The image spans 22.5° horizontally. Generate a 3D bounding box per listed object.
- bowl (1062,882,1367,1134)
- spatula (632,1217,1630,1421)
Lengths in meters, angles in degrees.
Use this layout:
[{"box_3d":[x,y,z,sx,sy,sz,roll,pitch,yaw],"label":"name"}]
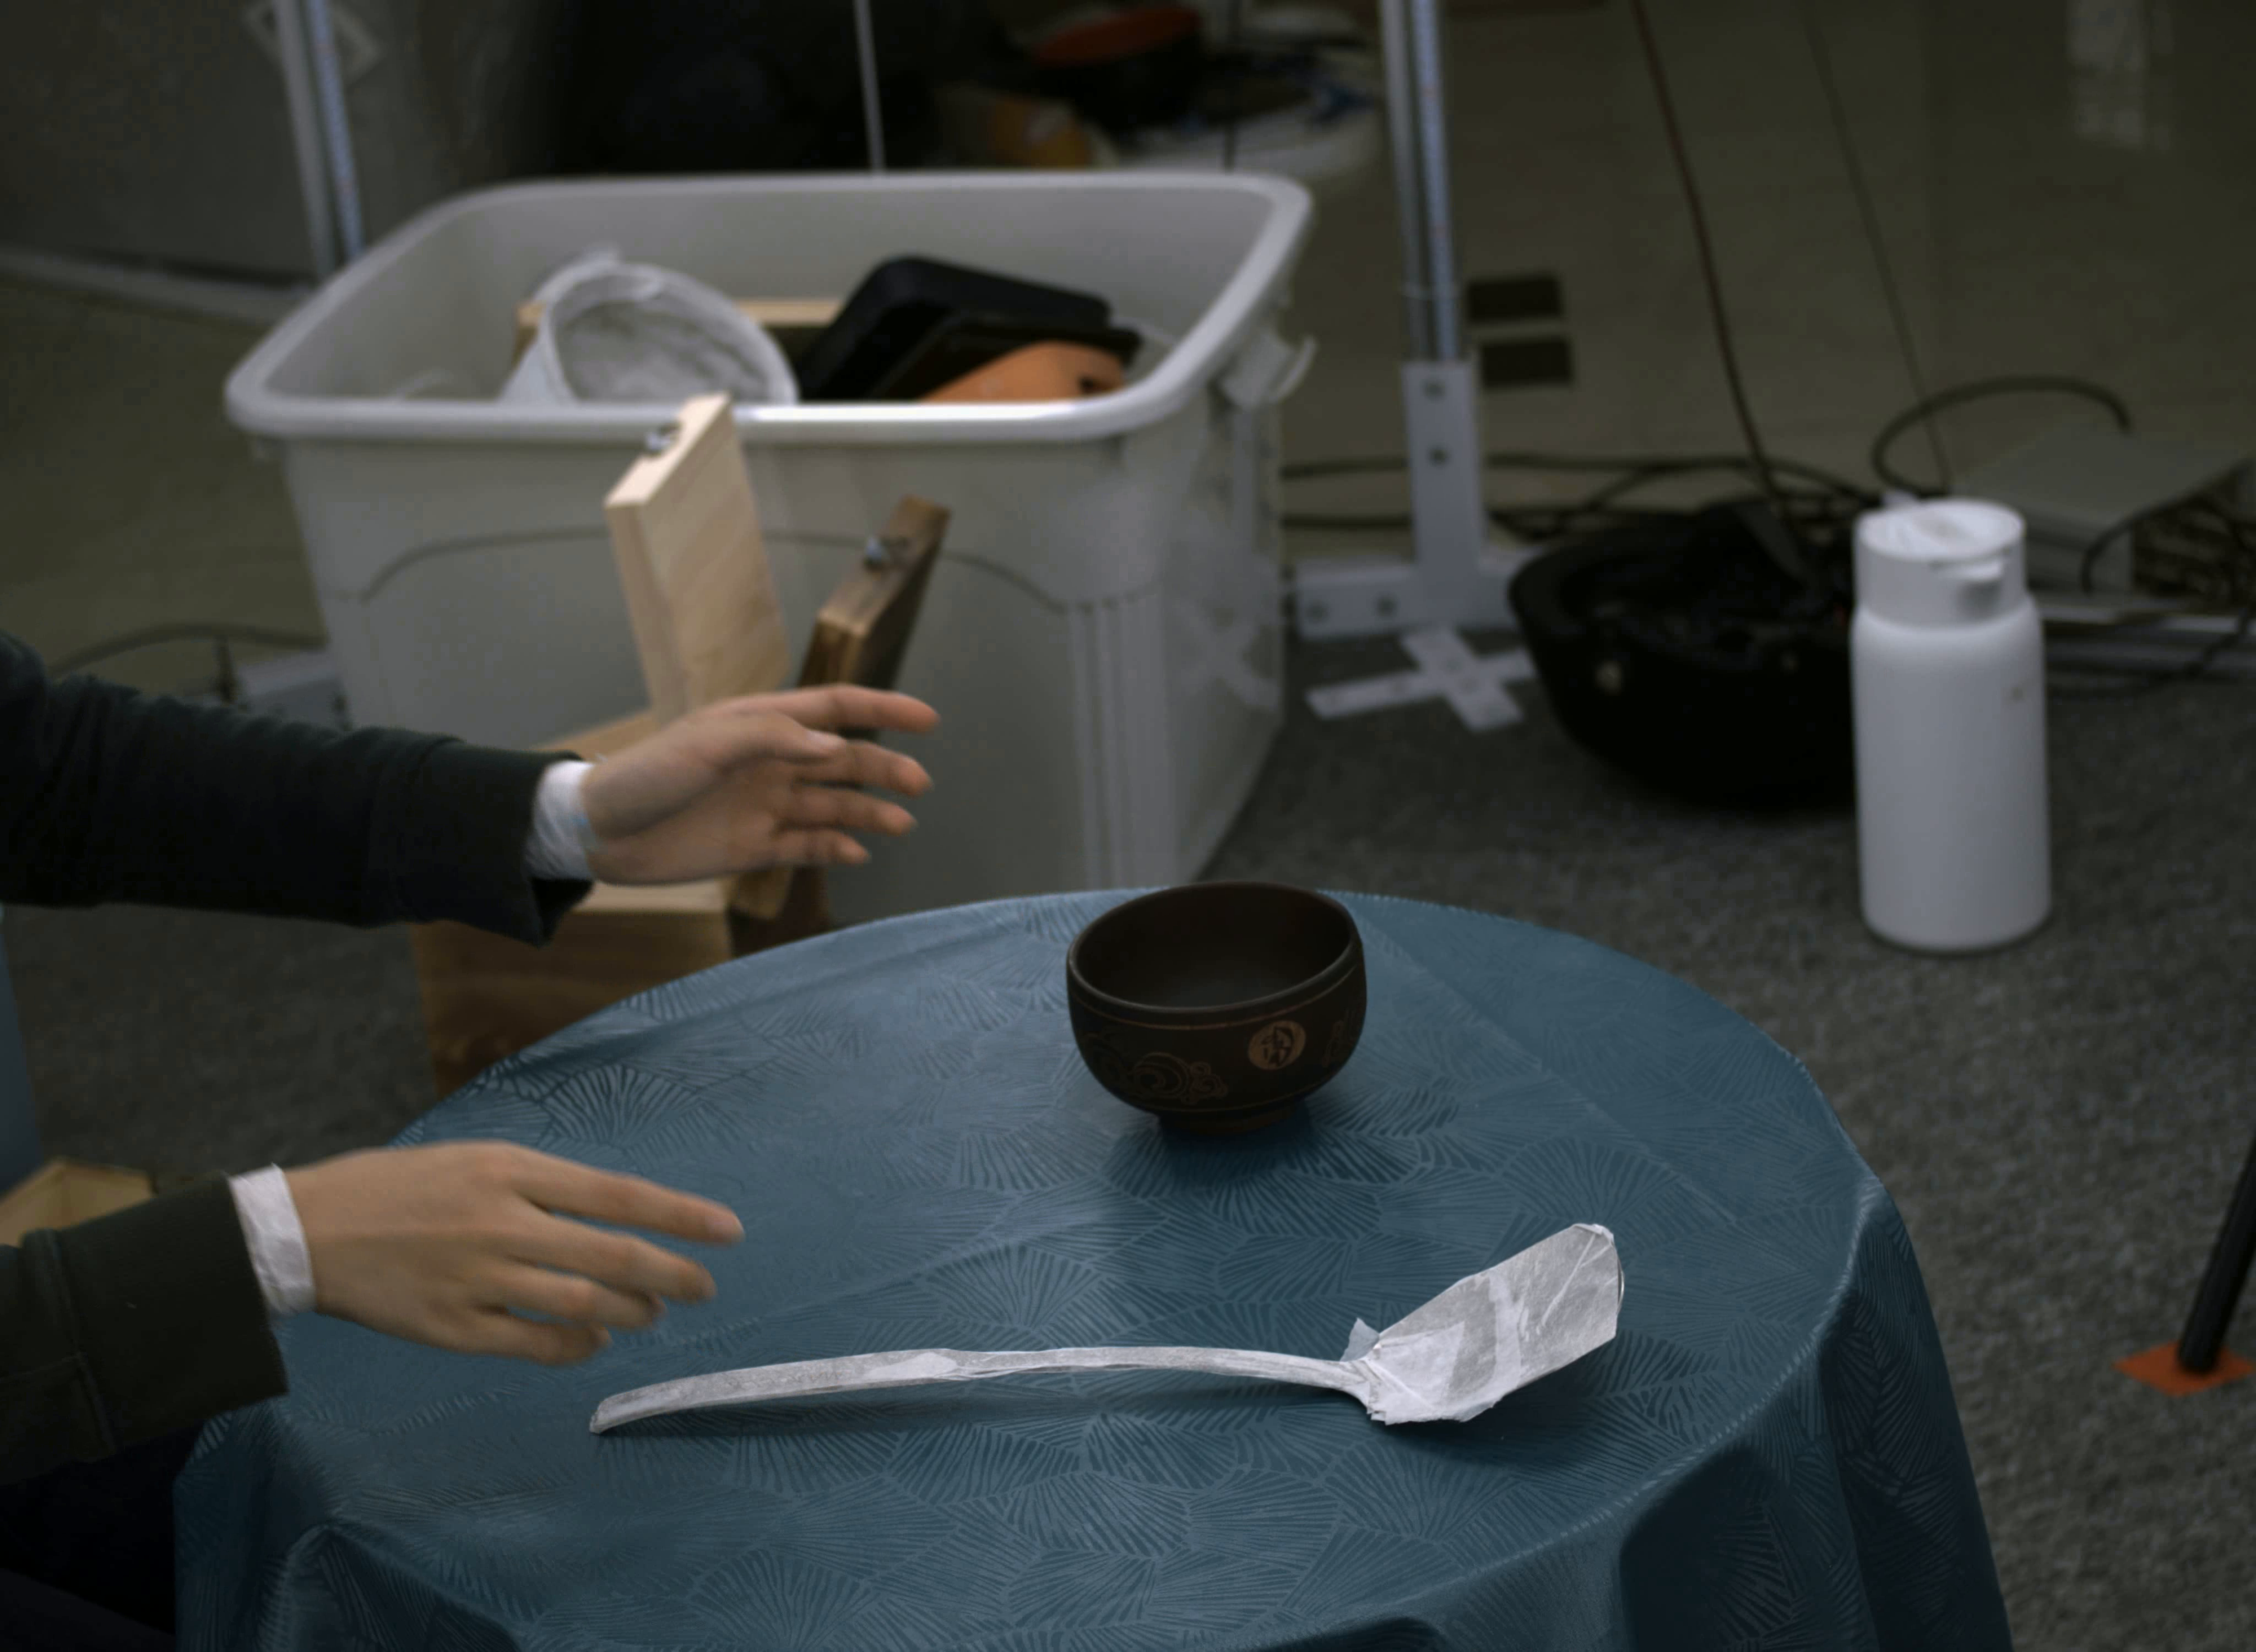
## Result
[{"box_3d":[0.035,0.076,2.194,0.118,0.071,0.116,-6,23,3],"label":"bowl"},{"box_3d":[-0.003,0.184,2.011,0.364,0.045,0.097,-3,27,8],"label":"spatula"}]
